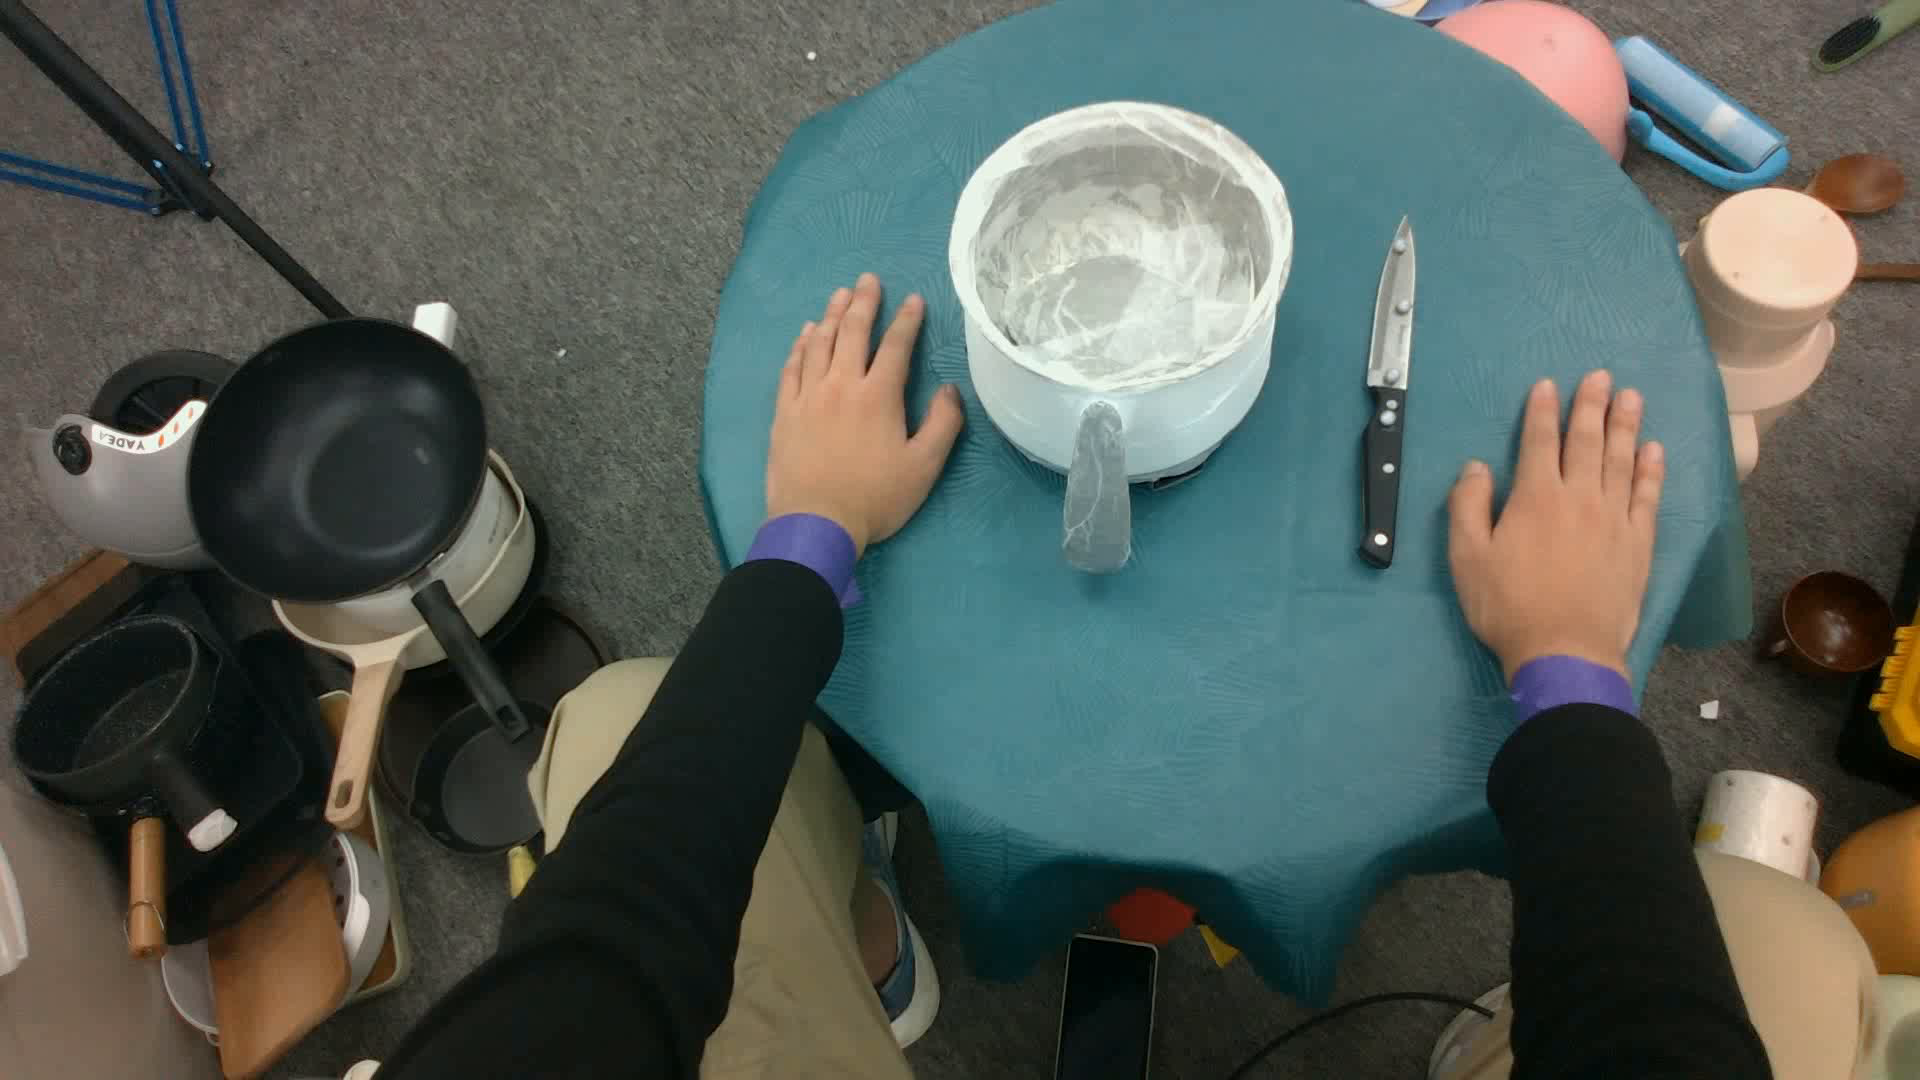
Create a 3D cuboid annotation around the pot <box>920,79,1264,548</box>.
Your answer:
[{"bbox_3d":[0.070,-0.119,0.759,0.178,0.136,0.234,3,67,7],"label":"pot"}]

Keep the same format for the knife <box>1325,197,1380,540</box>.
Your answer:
[{"bbox_3d":[0.234,-0.107,0.811,0.024,0.016,0.239,8,66,8],"label":"knife"}]
